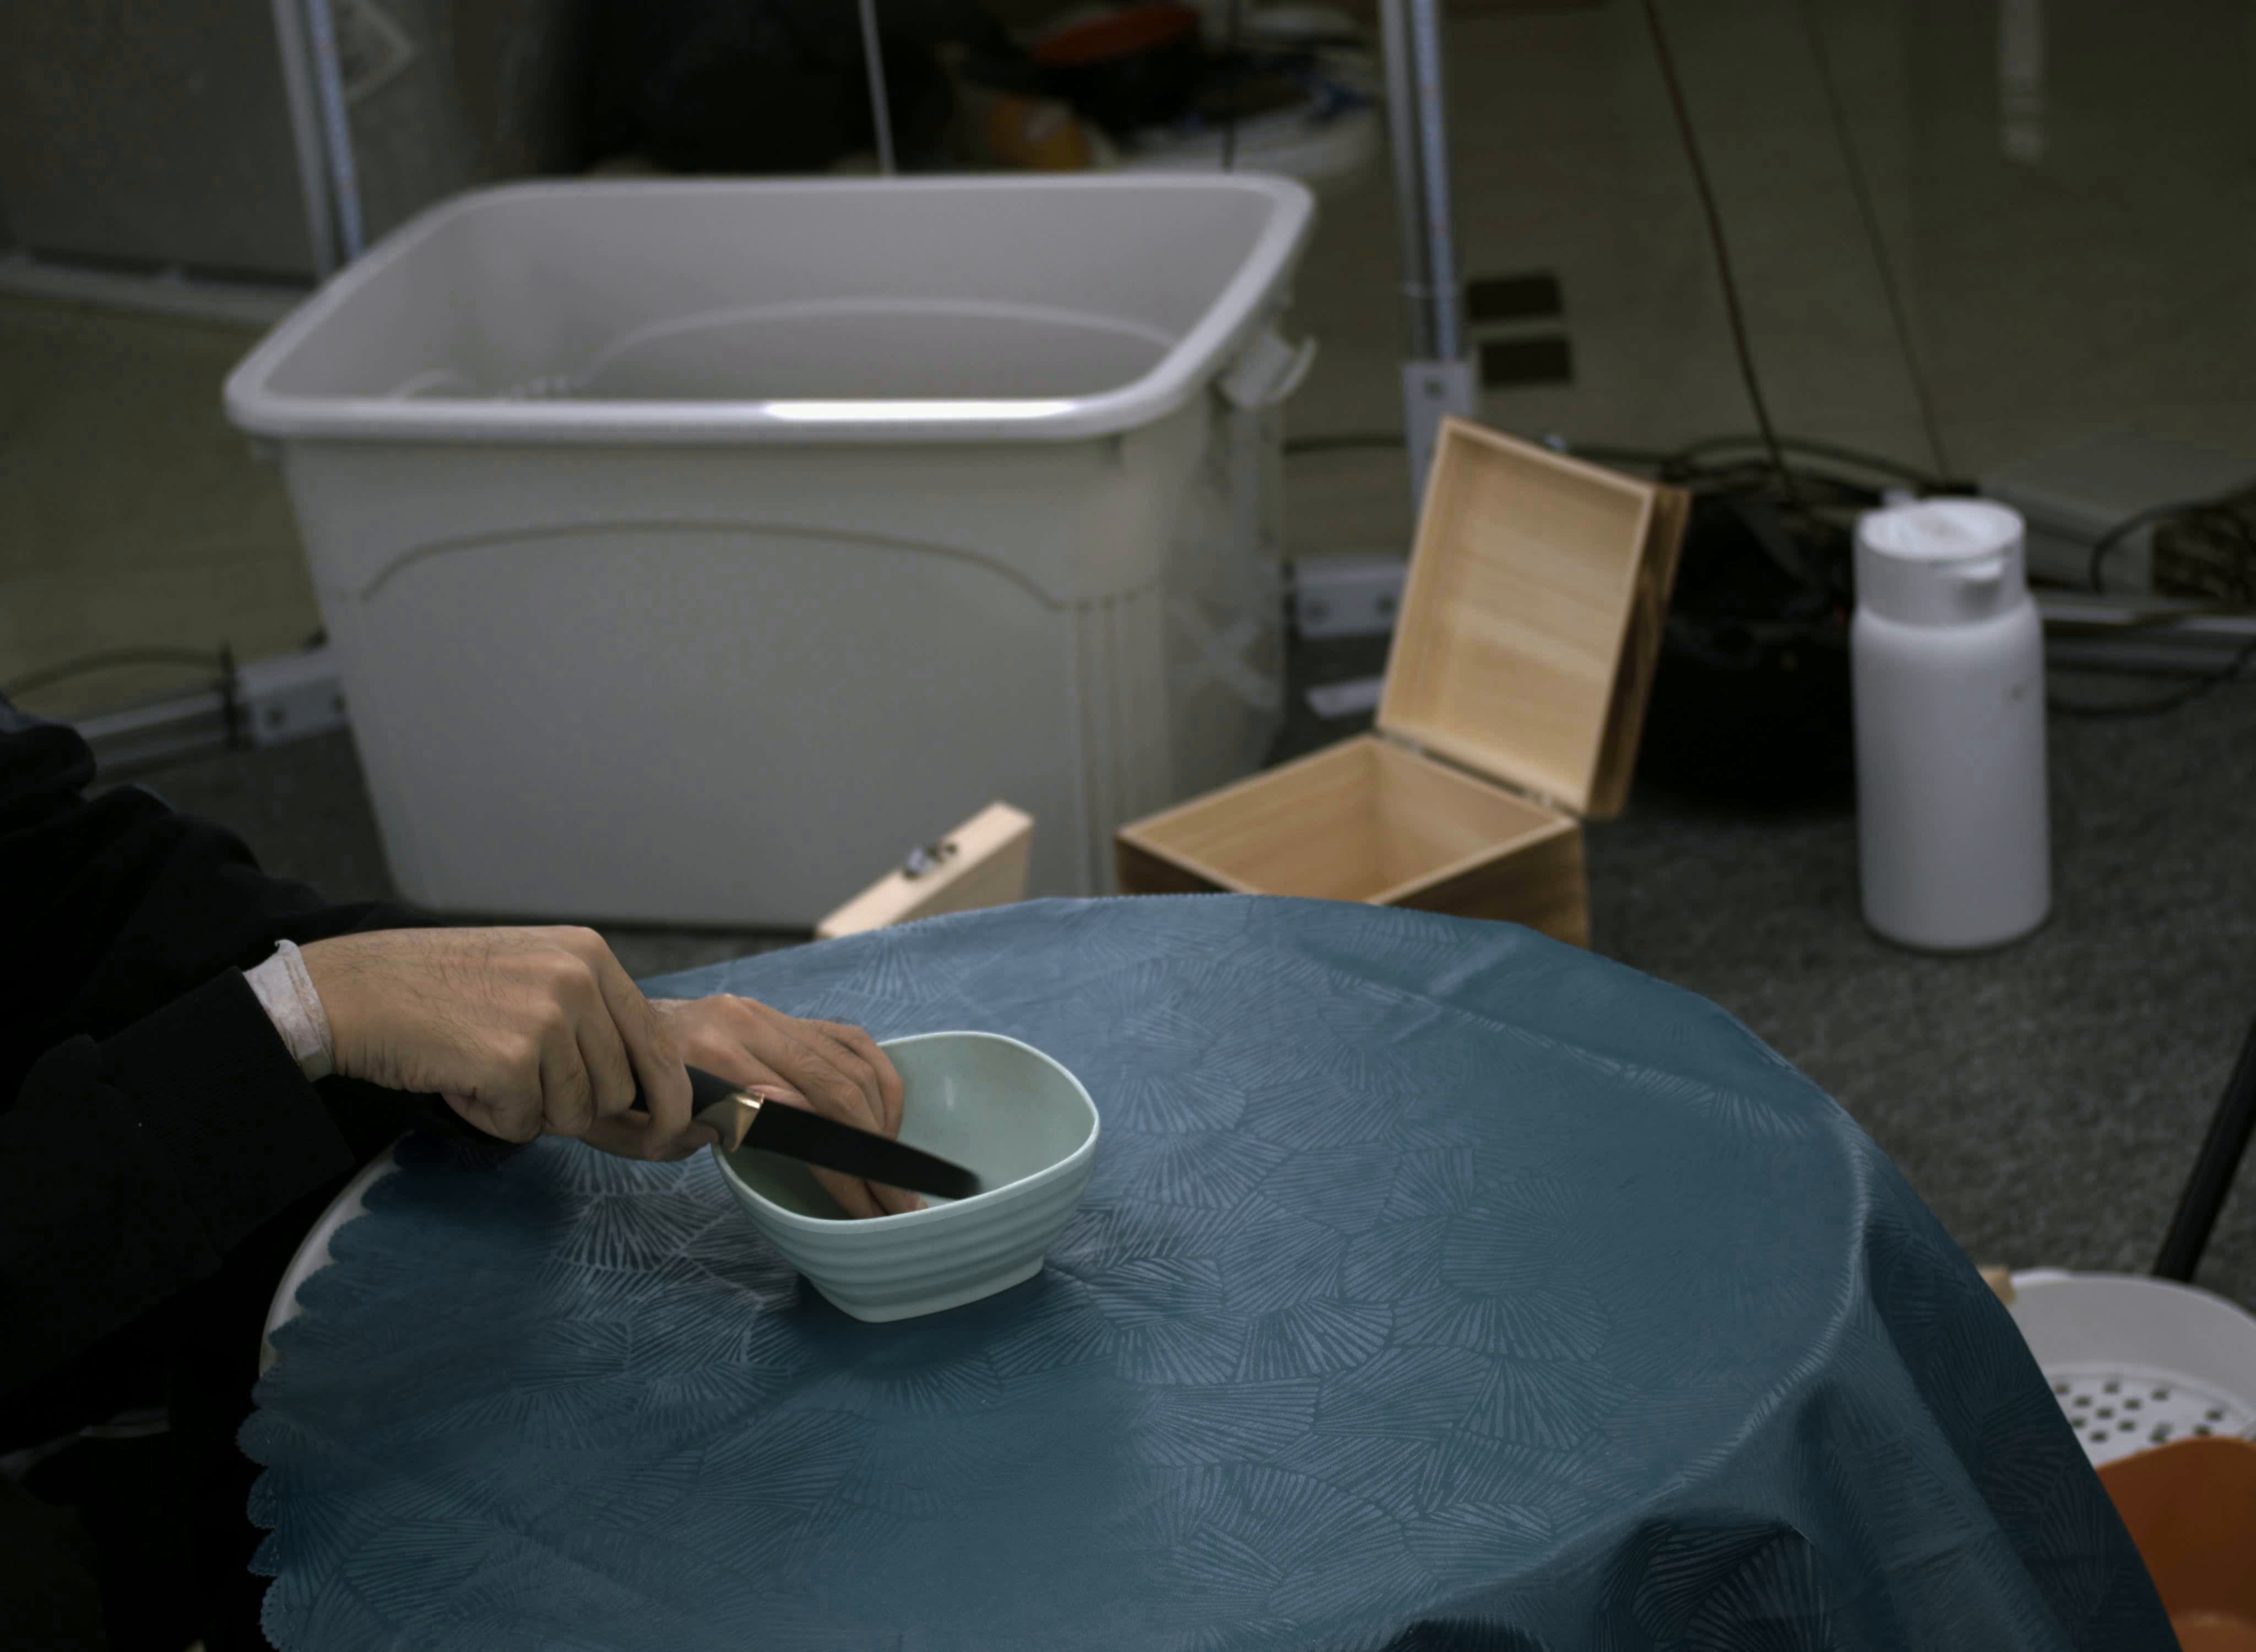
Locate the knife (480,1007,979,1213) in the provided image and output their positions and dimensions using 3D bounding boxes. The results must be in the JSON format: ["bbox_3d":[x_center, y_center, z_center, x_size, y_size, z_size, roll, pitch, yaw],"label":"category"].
[{"bbox_3d":[-0.136,0.108,2.066,0.226,0.026,0.017,21,22,-25],"label":"knife"}]

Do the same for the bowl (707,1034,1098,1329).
[{"bbox_3d":[-0.081,0.138,2.106,0.151,0.059,0.149,-5,27,3],"label":"bowl"}]
